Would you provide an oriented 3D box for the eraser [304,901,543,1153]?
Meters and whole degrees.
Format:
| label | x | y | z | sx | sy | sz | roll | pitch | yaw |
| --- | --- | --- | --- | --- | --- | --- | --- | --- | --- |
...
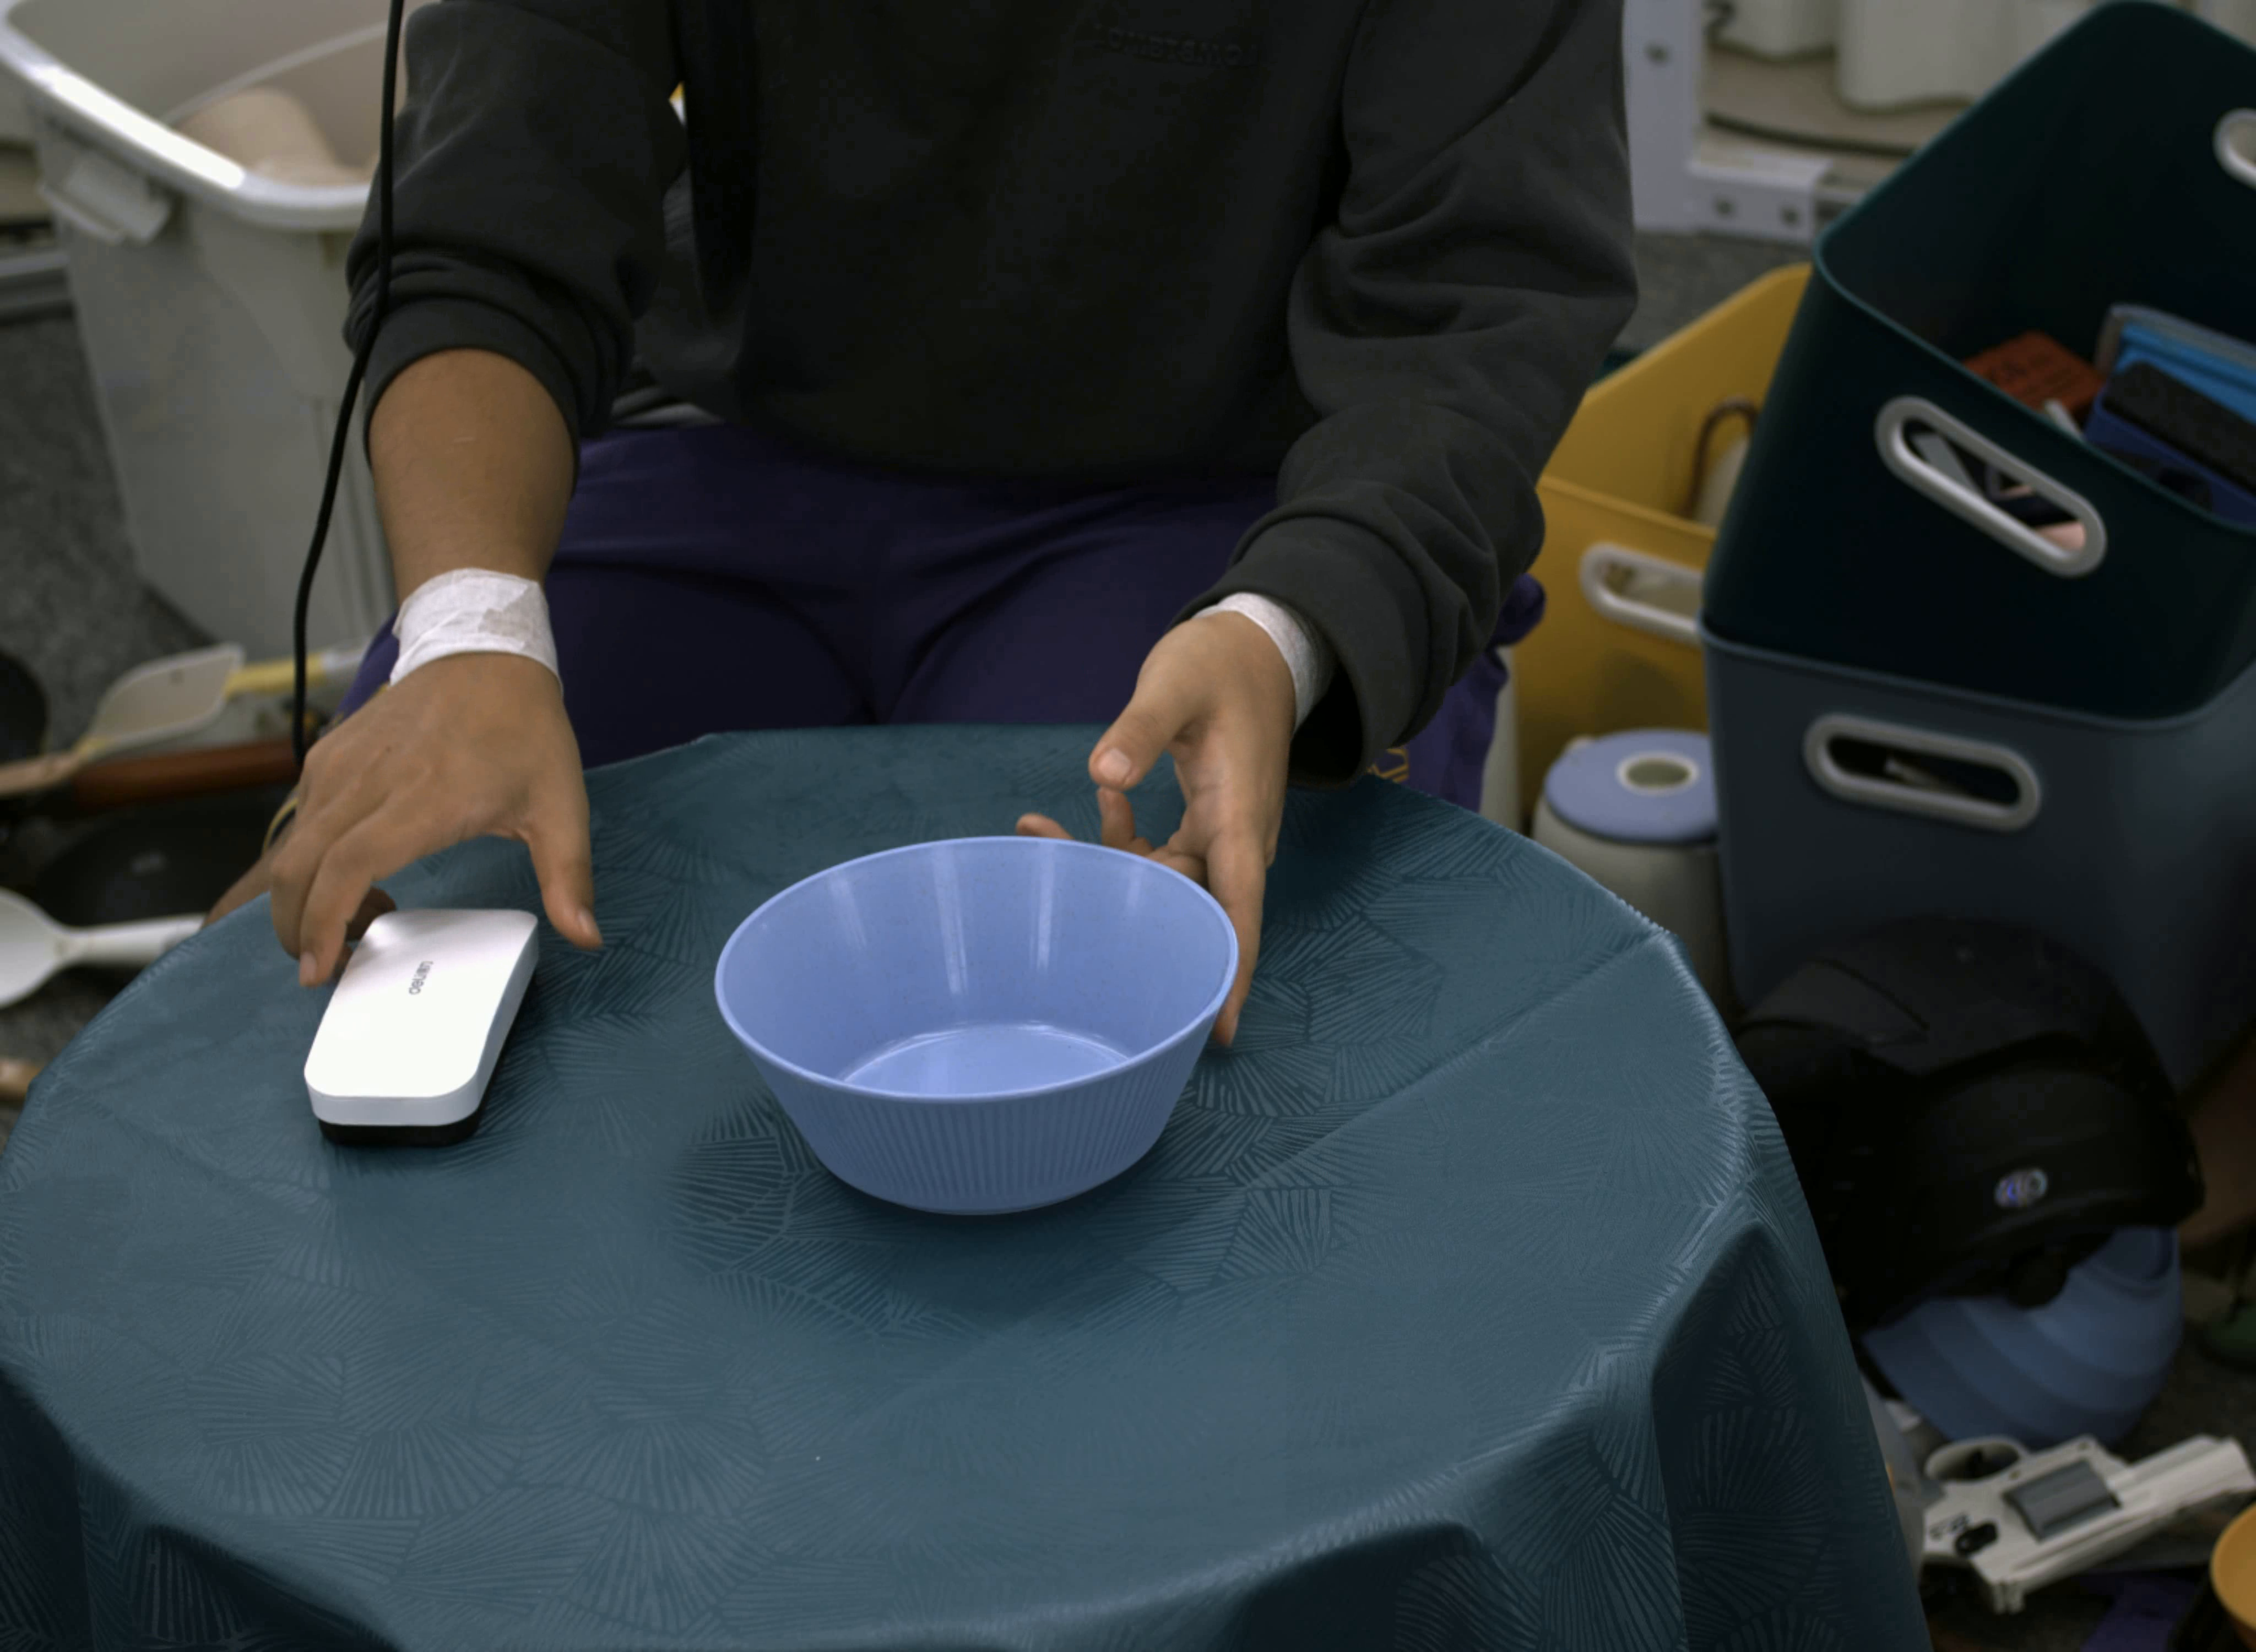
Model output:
| label | x | y | z | sx | sy | sz | roll | pitch | yaw |
| --- | --- | --- | --- | --- | --- | --- | --- | --- | --- |
| eraser | -0.242 | 0.067 | 1.957 | 0.063 | 0.034 | 0.133 | 2 | 30 | 8 |

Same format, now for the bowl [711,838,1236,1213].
| label | x | y | z | sx | sy | sz | roll | pitch | yaw |
| --- | --- | --- | --- | --- | --- | --- | --- | --- | --- |
| bowl | -0.050 | 0.073 | 1.885 | 0.175 | 0.069 | 0.179 | -2 | 28 | 1 |
